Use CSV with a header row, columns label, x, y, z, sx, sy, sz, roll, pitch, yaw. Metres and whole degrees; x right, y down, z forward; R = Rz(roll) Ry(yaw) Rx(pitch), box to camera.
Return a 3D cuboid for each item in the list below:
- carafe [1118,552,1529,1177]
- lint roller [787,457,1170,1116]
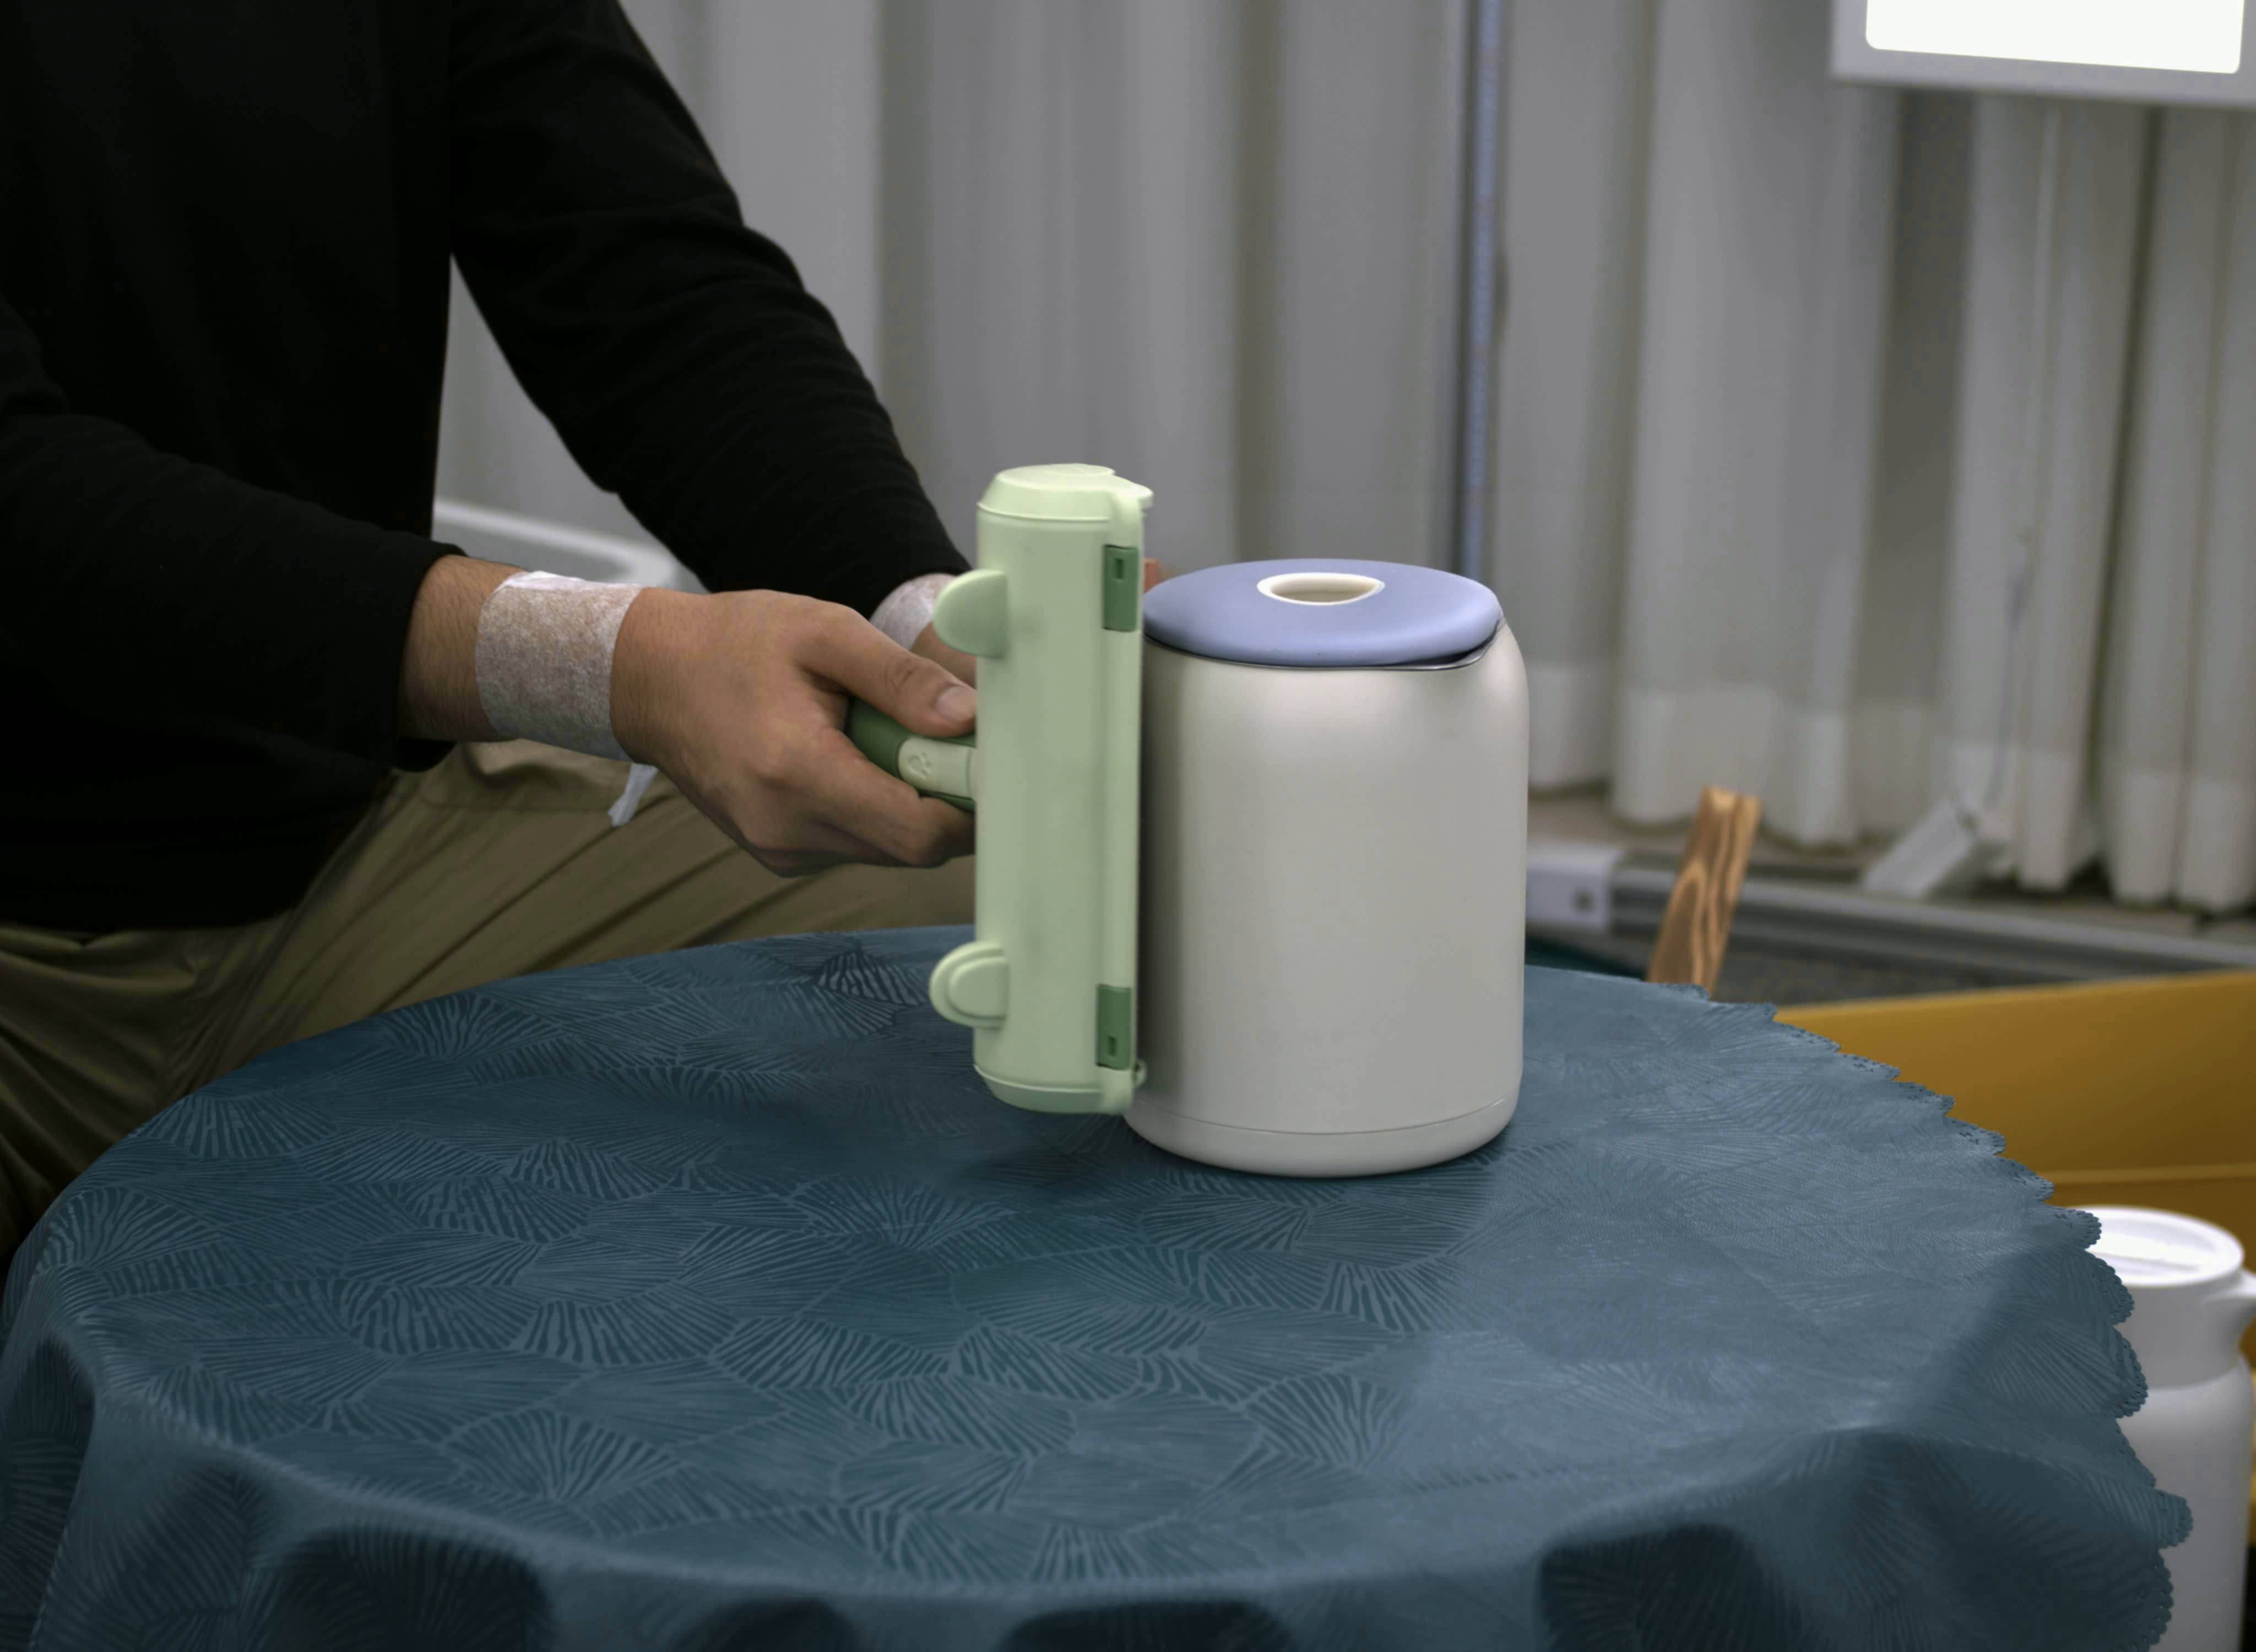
label,x,y,z,sx,sy,sz,roll,pitch,yaw
carafe,0.046,0.006,1.682,0.133,0.184,0.188,-11,17,-36
lint roller,-0.061,-0.019,1.636,0.181,0.200,0.082,11,17,40
